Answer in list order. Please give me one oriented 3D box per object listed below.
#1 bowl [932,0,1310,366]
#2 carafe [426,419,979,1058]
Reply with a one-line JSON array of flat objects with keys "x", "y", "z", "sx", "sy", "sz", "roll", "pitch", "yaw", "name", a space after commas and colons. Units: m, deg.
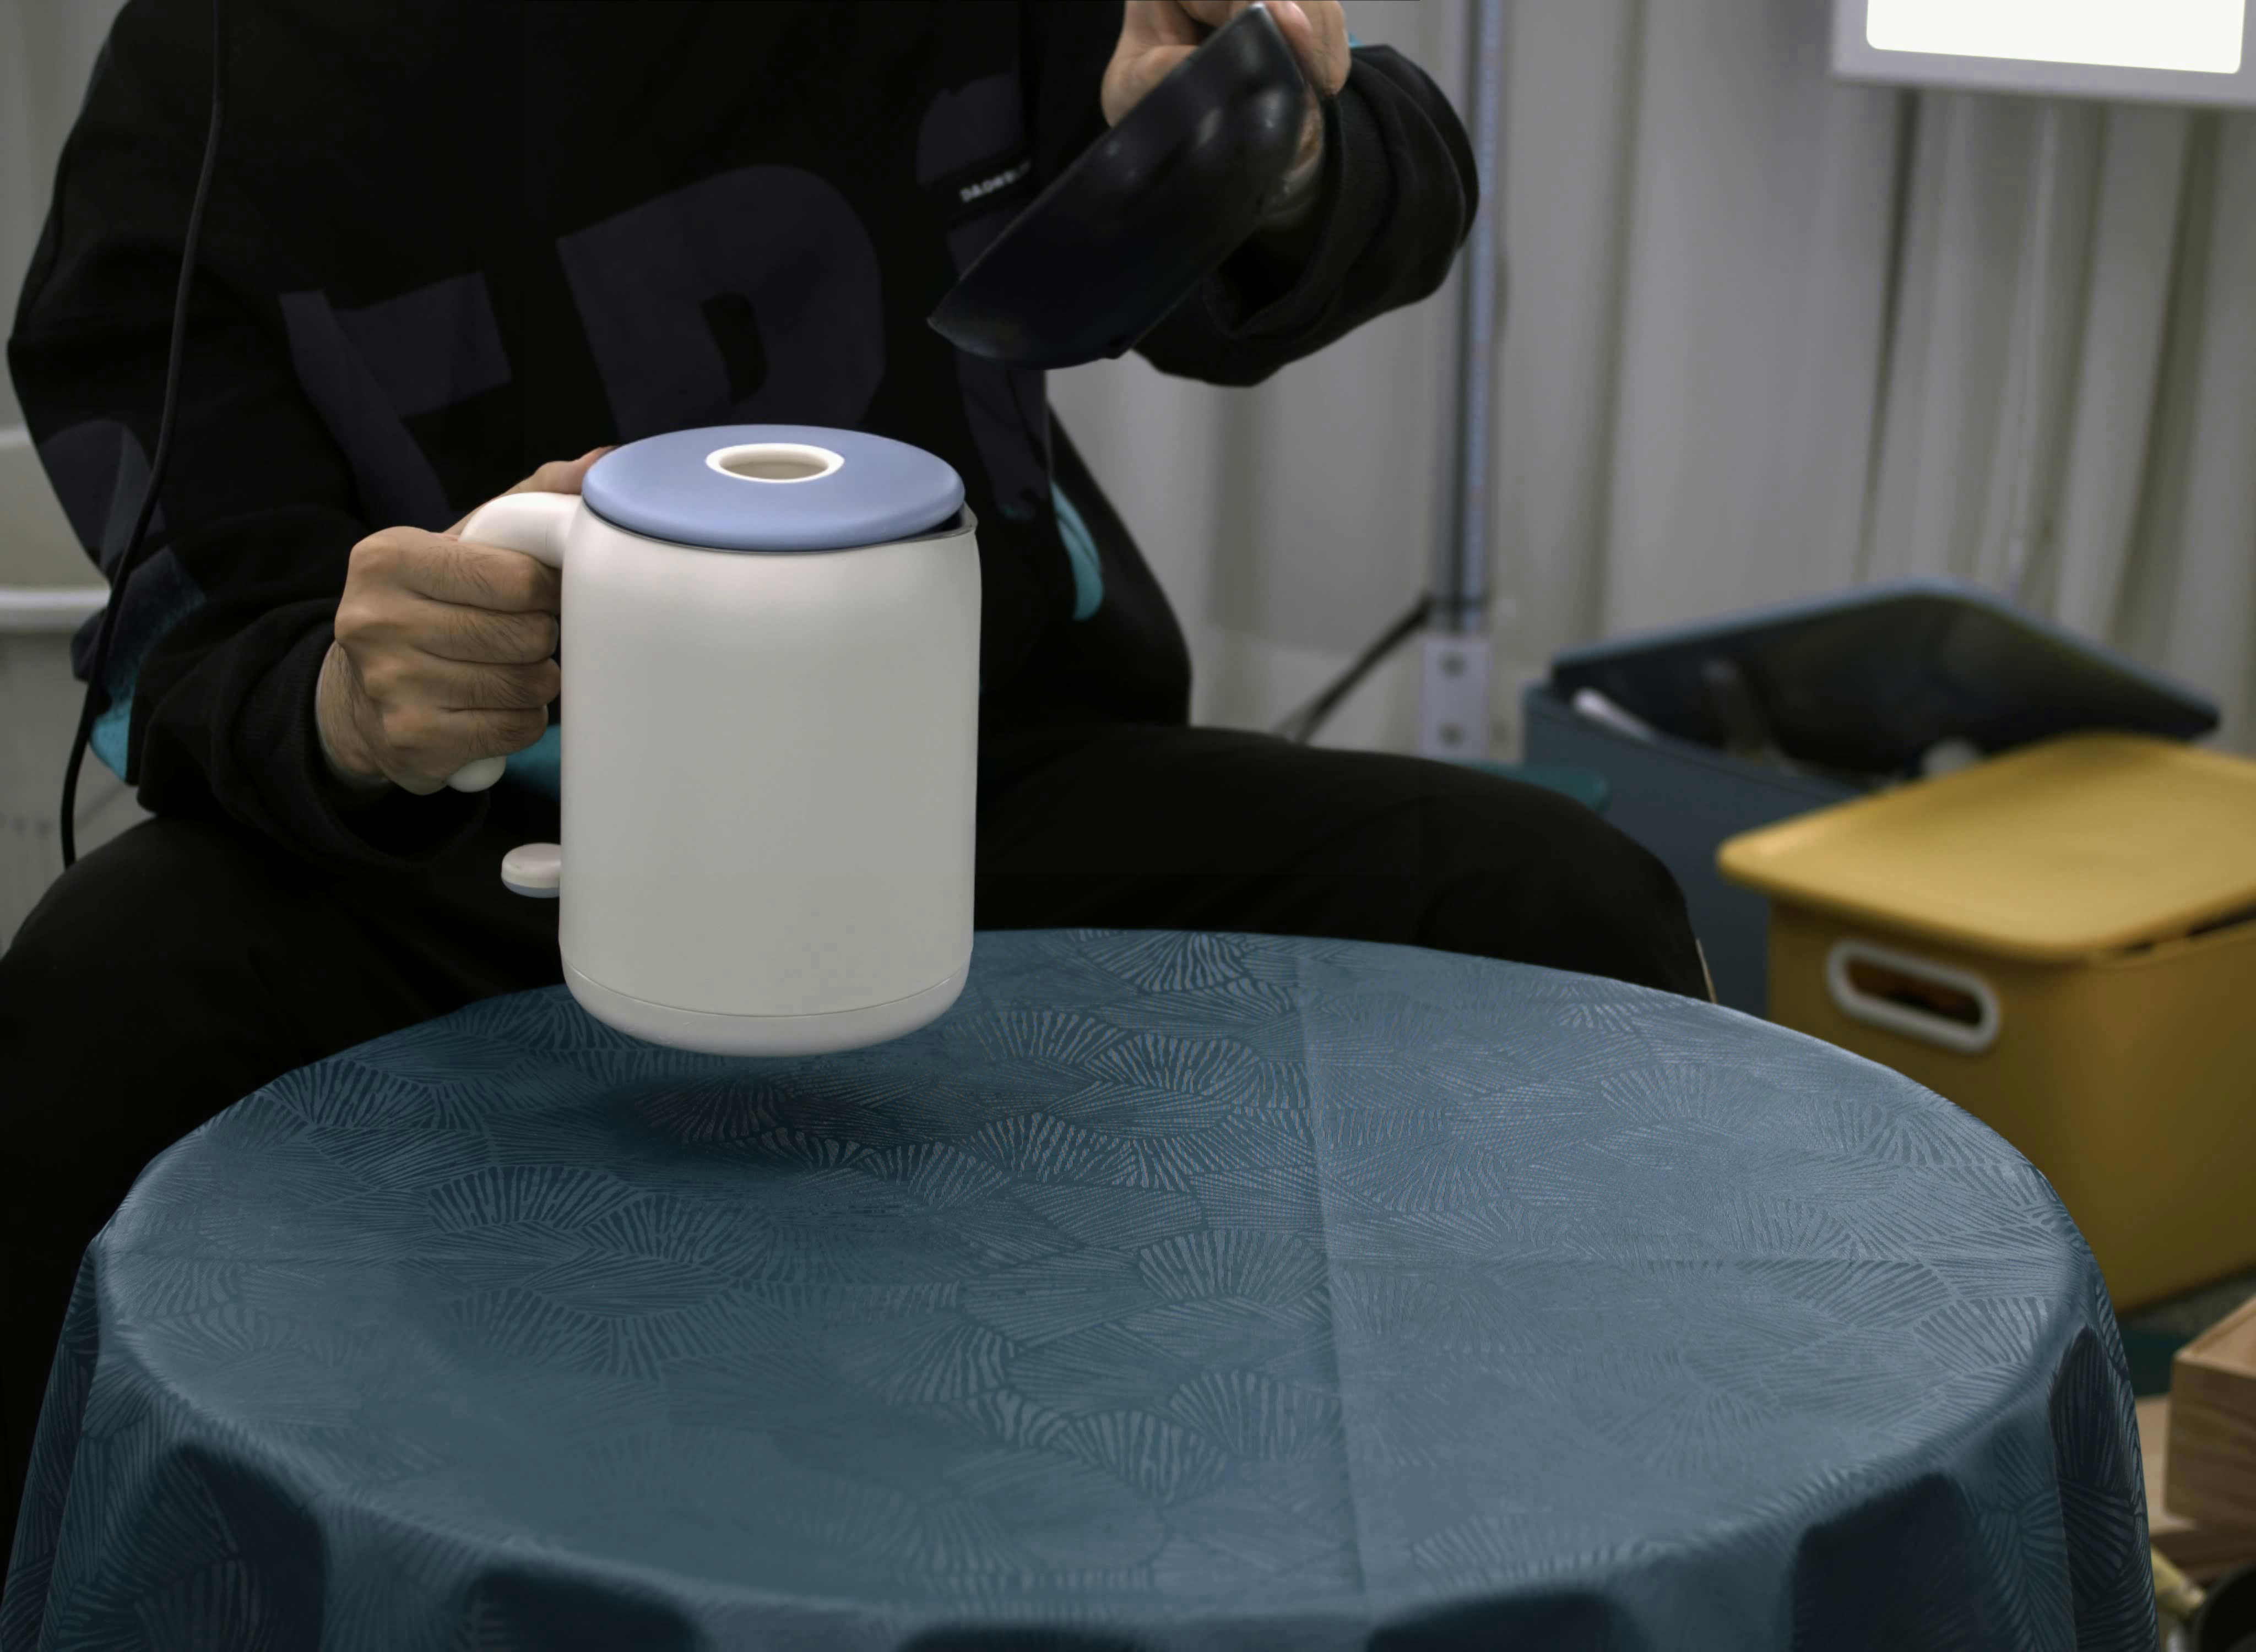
[{"x": 0.008, "y": -0.182, "z": 1.560, "sx": 0.050, "sy": 0.140, "sz": 0.140, "roll": 46, "pitch": 21, "yaw": -1, "name": "bowl"}, {"x": -0.135, "y": -0.031, "z": 1.651, "sx": 0.189, "sy": 0.184, "sz": 0.132, "roll": 7, "pitch": 19, "yaw": 20, "name": "carafe"}]
